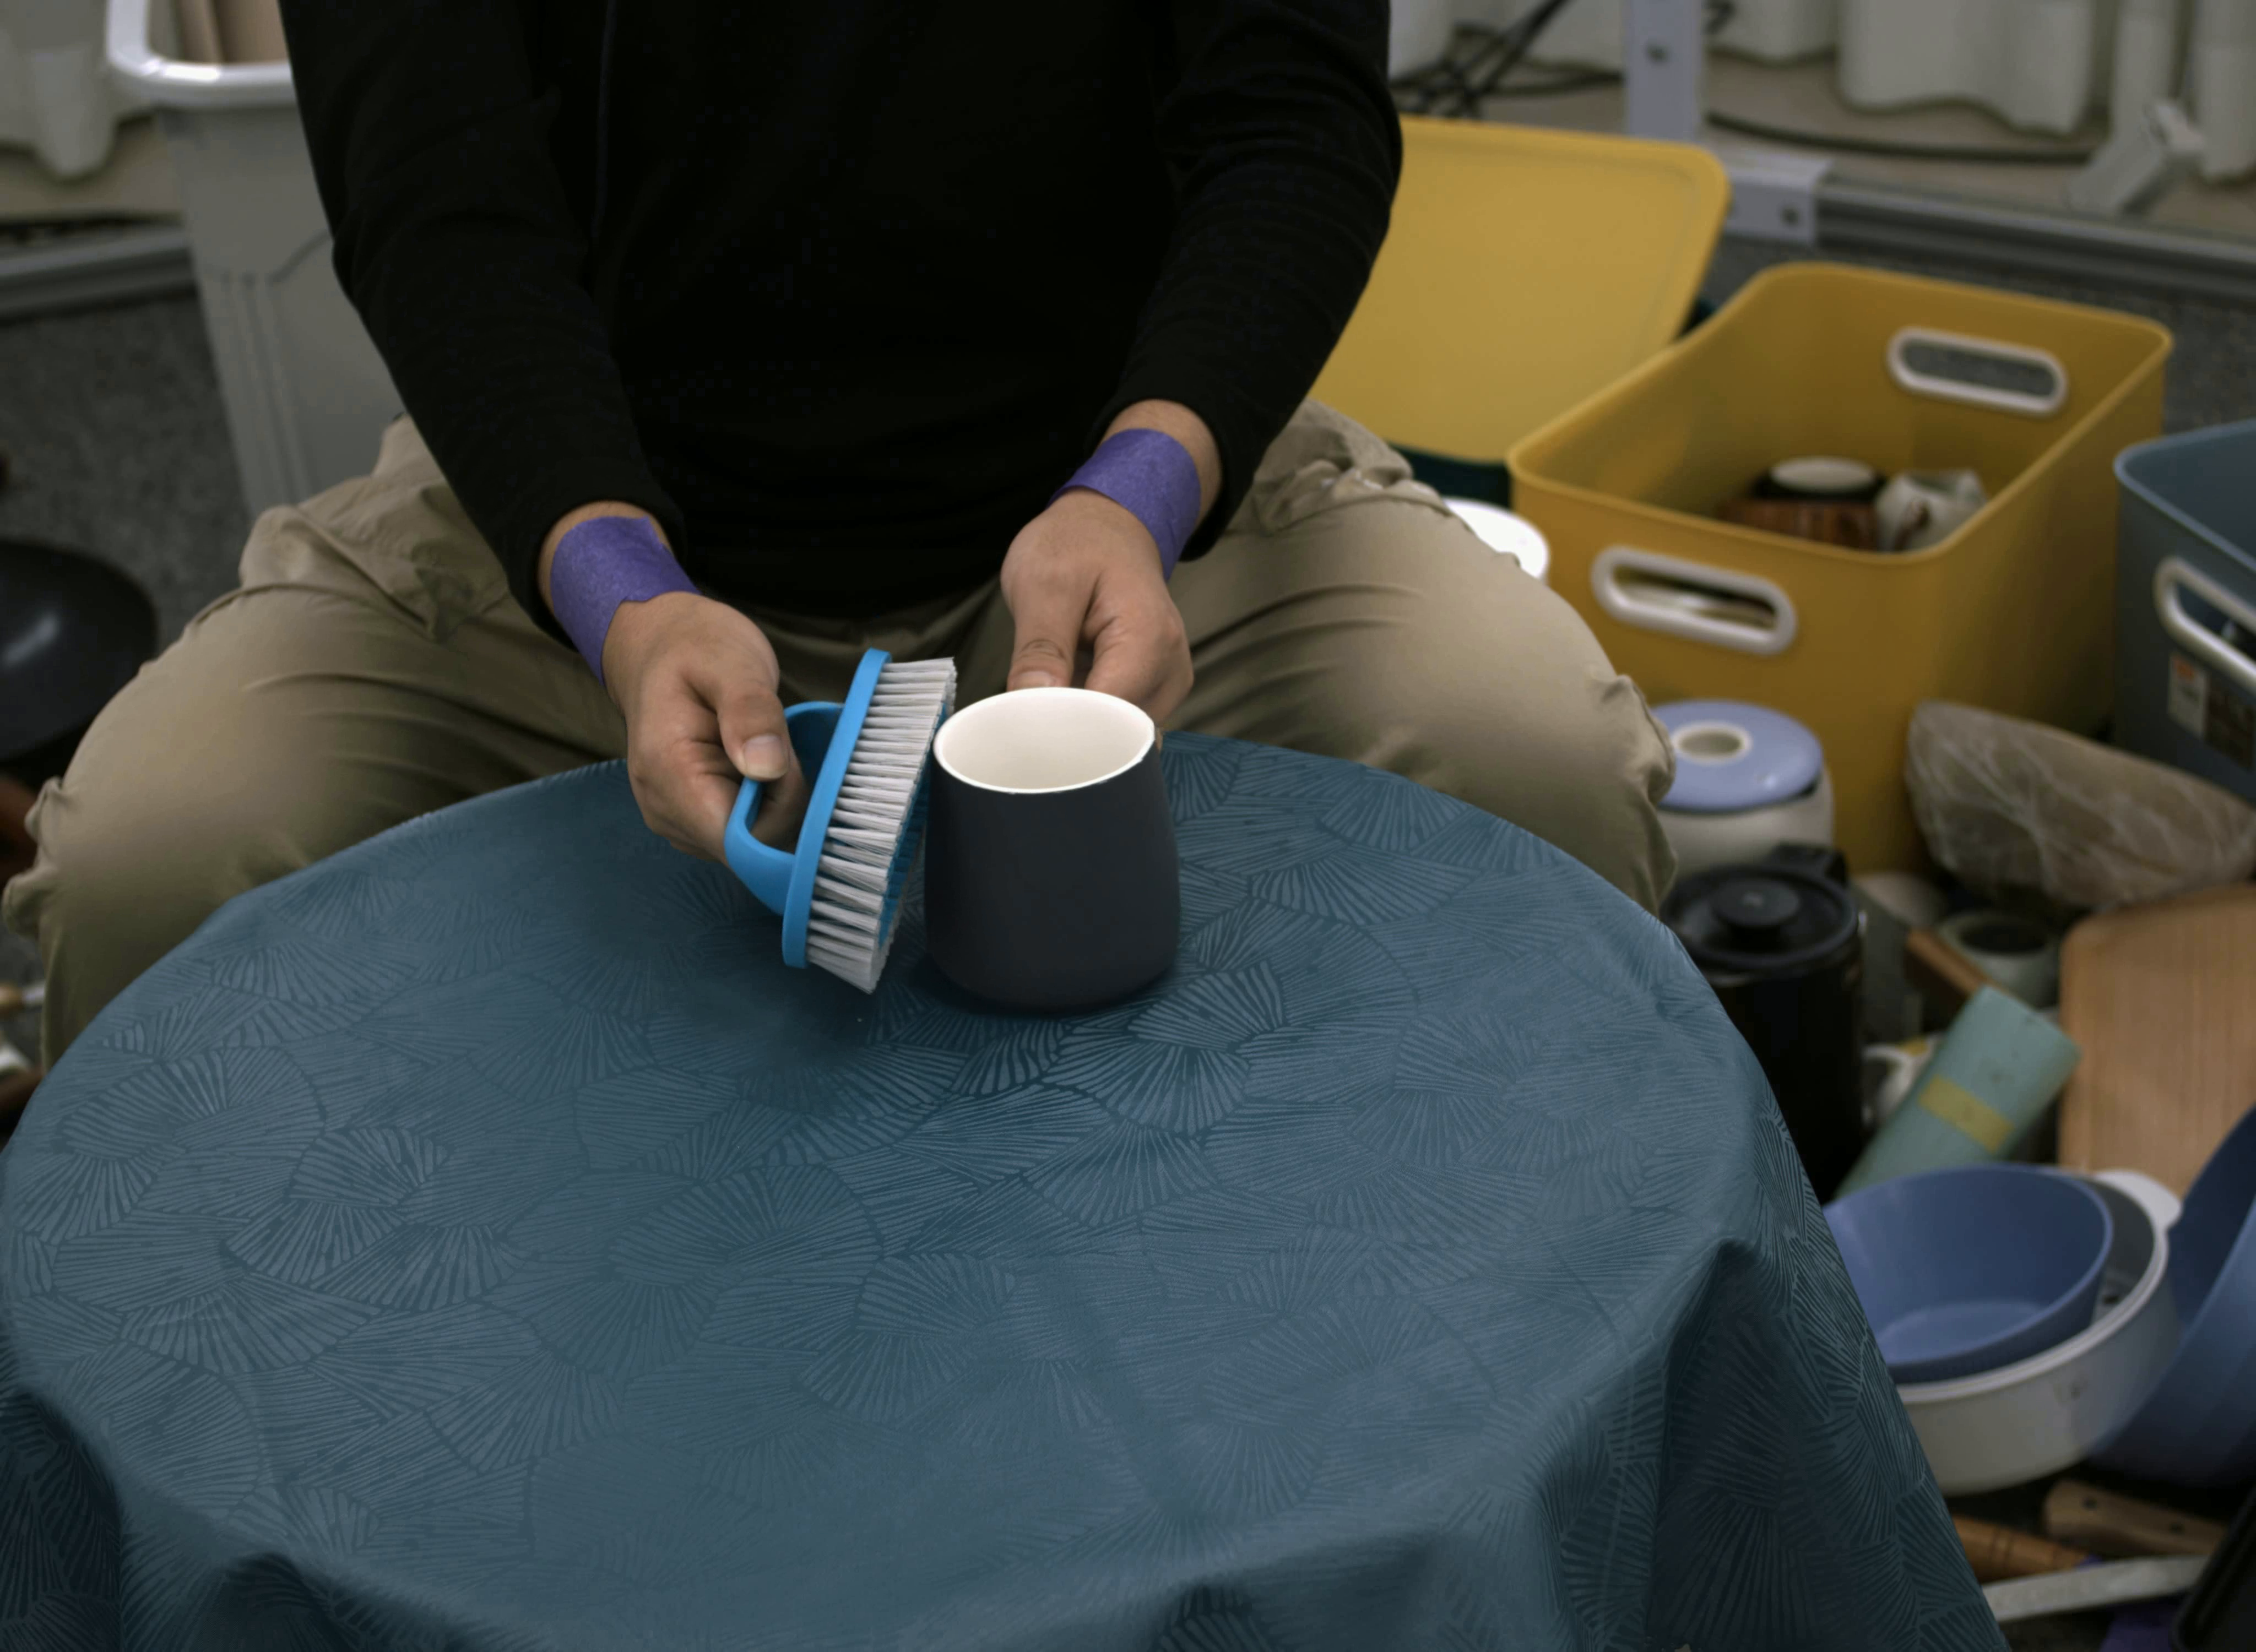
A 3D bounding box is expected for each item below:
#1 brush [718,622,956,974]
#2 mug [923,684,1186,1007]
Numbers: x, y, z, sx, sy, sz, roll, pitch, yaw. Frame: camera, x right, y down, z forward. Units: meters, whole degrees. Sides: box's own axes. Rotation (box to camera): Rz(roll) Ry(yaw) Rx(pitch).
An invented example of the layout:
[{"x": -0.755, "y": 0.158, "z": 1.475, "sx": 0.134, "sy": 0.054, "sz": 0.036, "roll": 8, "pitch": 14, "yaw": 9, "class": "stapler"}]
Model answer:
[{"x": -0.106, "y": -0.011, "z": 1.969, "sx": 0.063, "sy": 0.083, "sz": 0.145, "roll": 11, "pitch": 42, "yaw": 6, "class": "brush"}, {"x": -0.027, "y": 0.000, "z": 1.997, "sx": 0.093, "sy": 0.089, "sz": 0.125, "roll": -2, "pitch": 29, "yaw": 0, "class": "mug"}]
